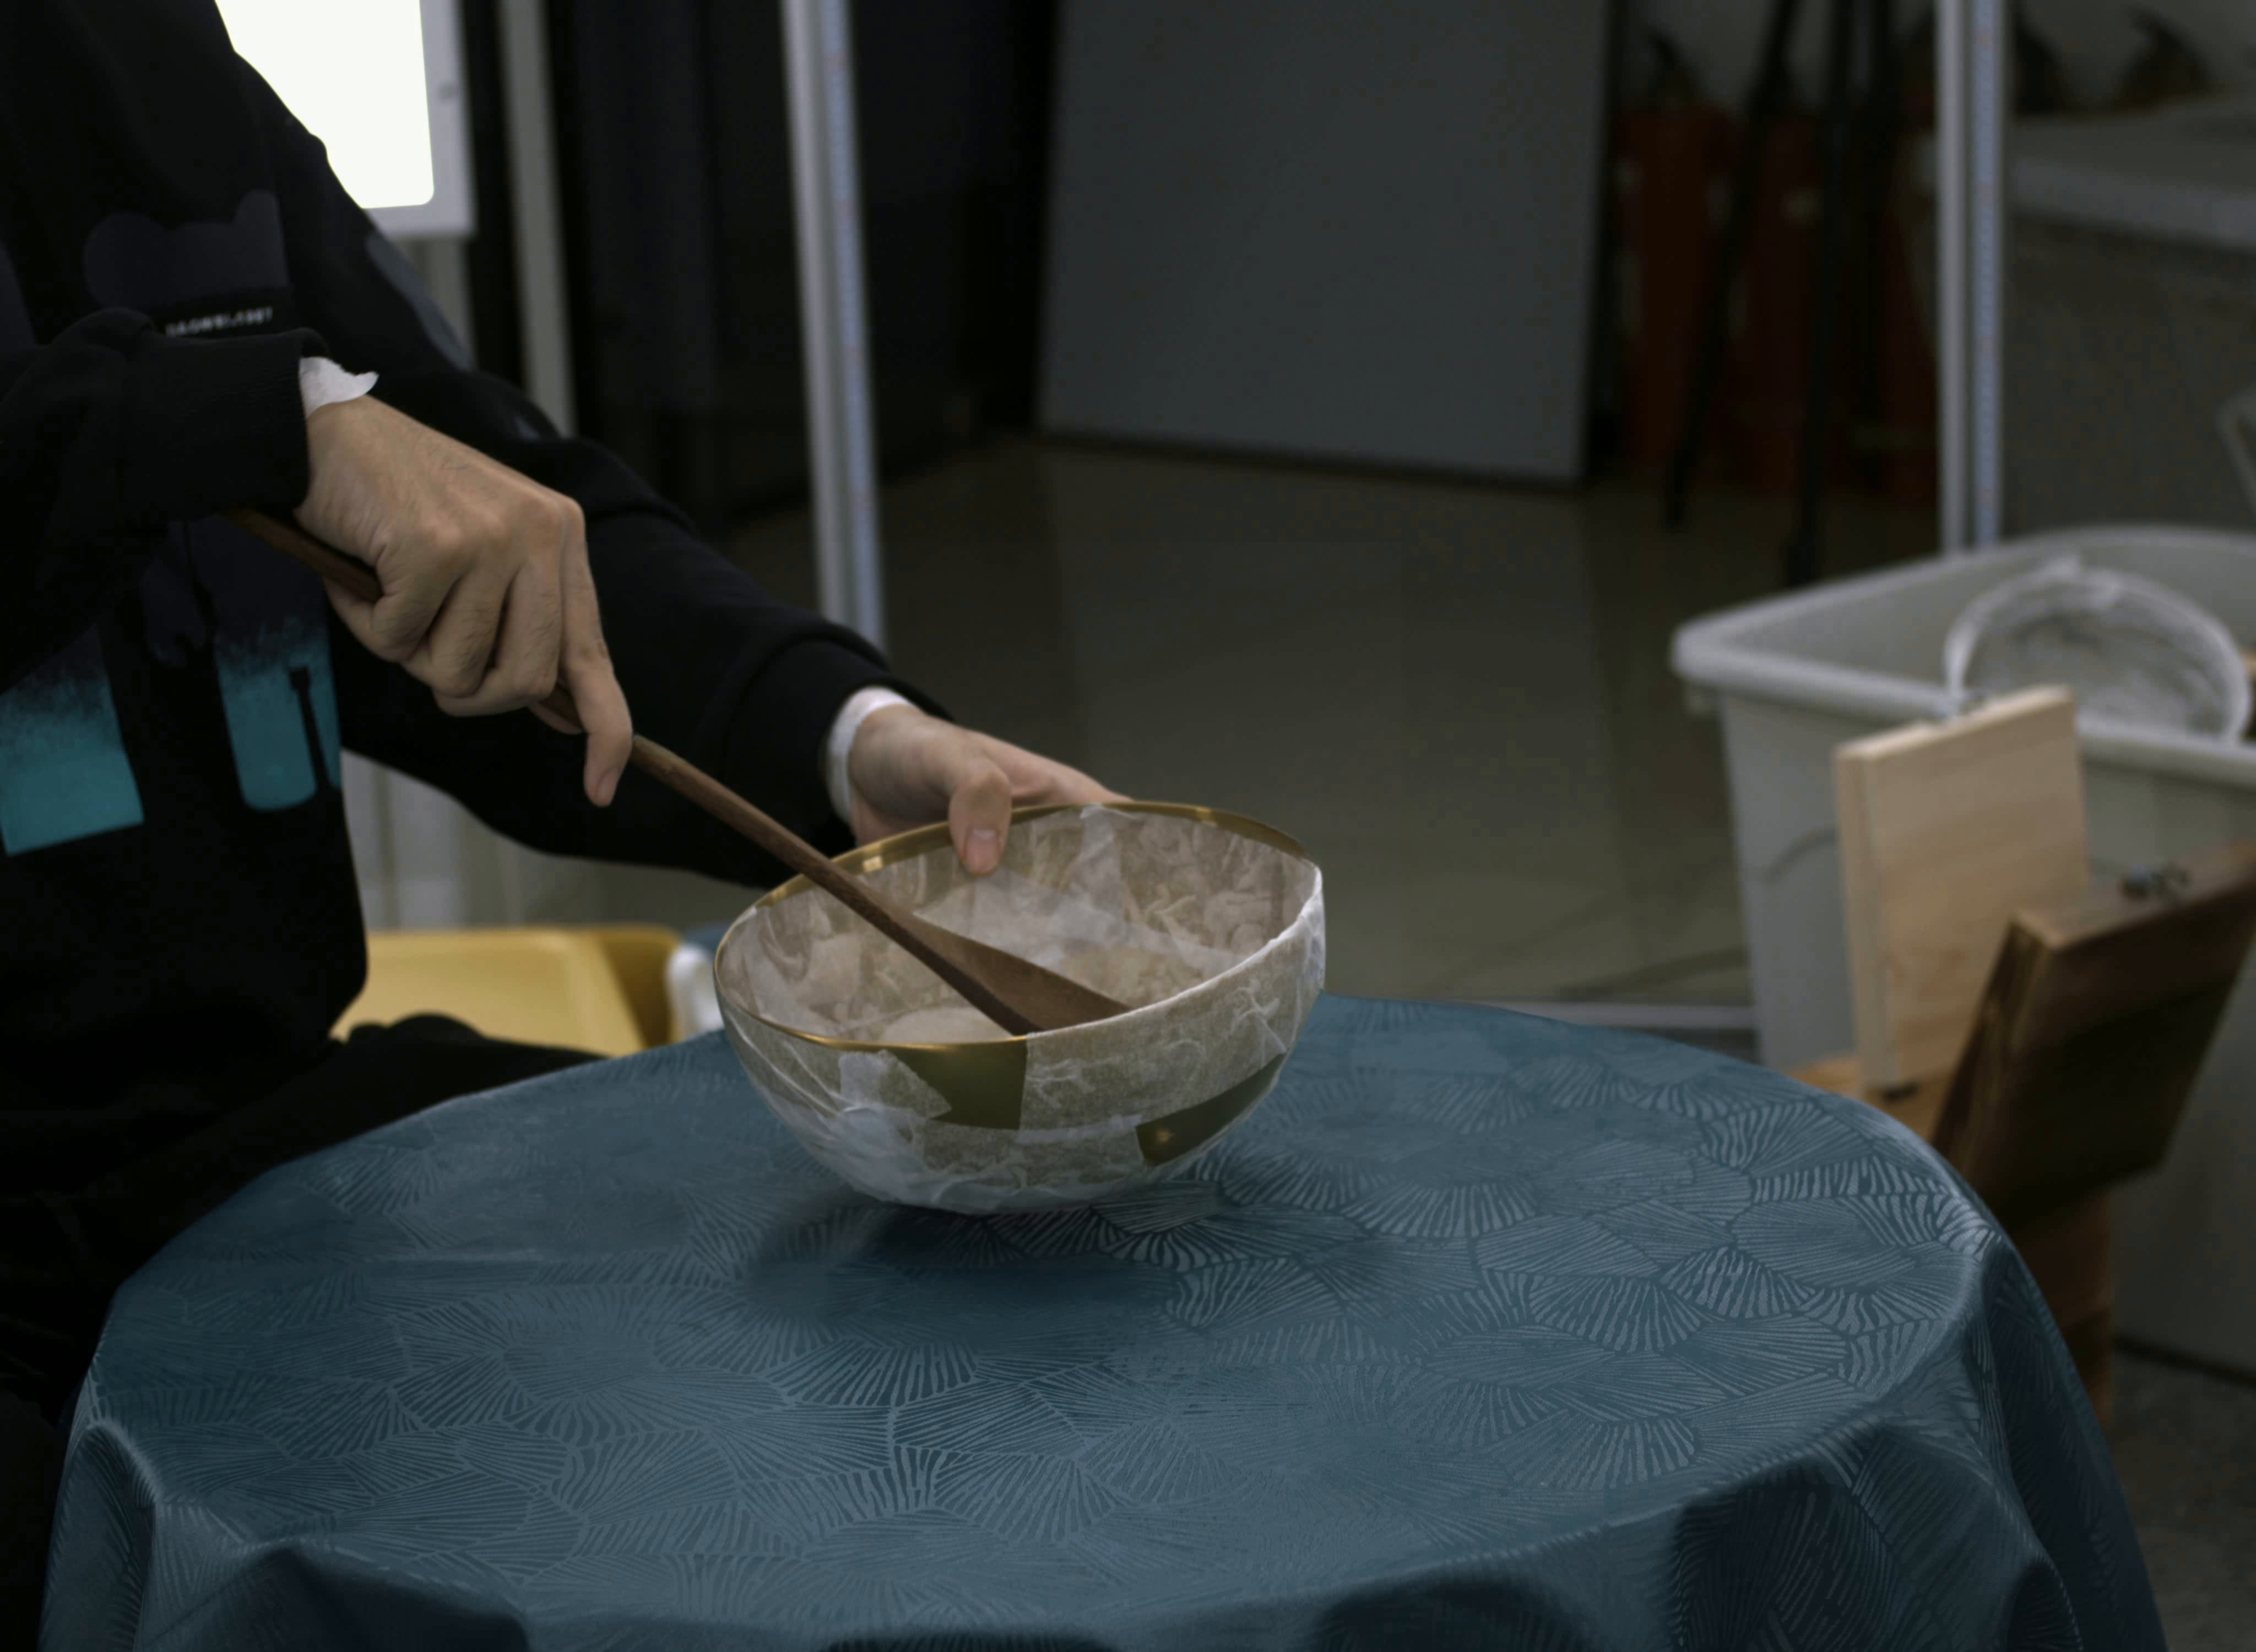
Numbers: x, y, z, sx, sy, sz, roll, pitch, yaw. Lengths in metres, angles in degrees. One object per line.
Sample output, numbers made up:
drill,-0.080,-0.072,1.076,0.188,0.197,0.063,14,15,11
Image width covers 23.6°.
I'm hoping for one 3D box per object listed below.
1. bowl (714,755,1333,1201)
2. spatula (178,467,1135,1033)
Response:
bowl,-0.034,0.060,1.755,0.212,0.095,0.215,-4,27,1
spatula,-0.137,-0.012,1.741,0.382,0.016,0.096,33,9,-8
